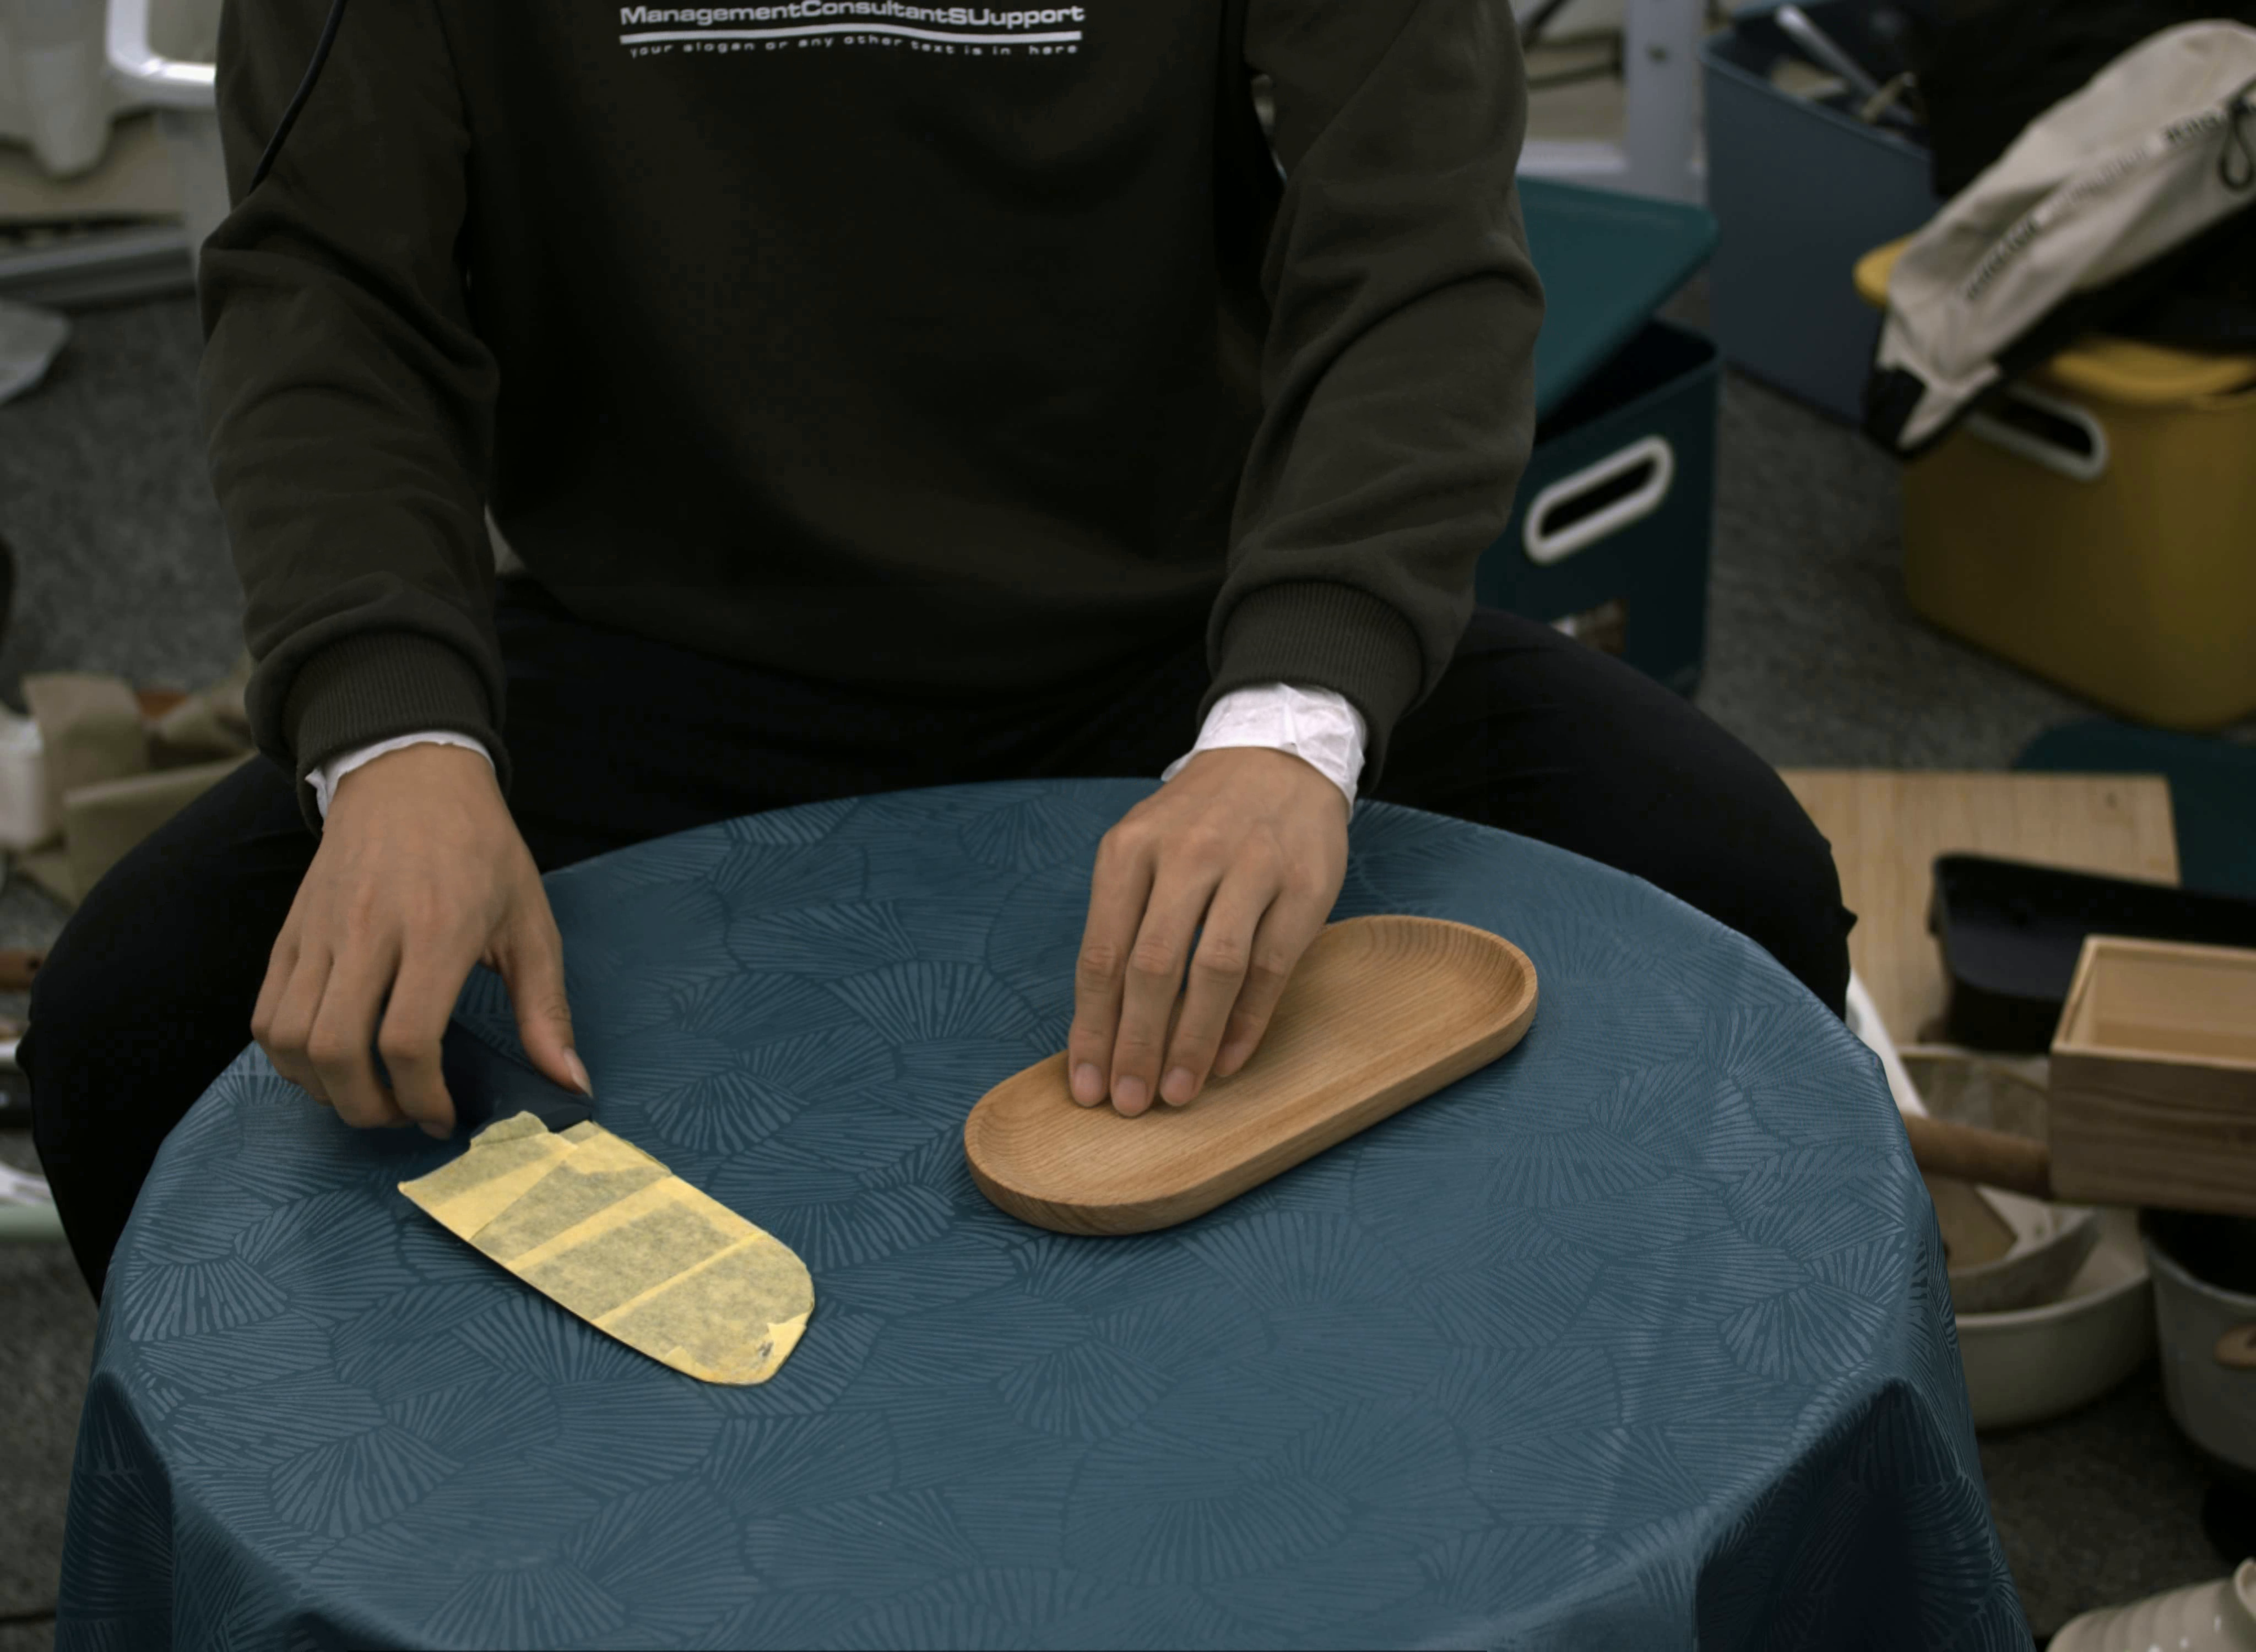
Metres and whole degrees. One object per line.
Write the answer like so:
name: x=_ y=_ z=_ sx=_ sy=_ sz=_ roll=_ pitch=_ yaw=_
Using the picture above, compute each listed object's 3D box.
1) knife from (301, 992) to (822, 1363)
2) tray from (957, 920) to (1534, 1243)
knife: x=-0.200 y=0.119 z=1.870 sx=0.082 sy=0.027 sz=0.289 roll=-21 pitch=33 yaw=-35
tray: x=0.042 y=0.086 z=1.910 sx=0.234 sy=0.020 sz=0.101 roll=-26 pitch=34 yaw=-35
